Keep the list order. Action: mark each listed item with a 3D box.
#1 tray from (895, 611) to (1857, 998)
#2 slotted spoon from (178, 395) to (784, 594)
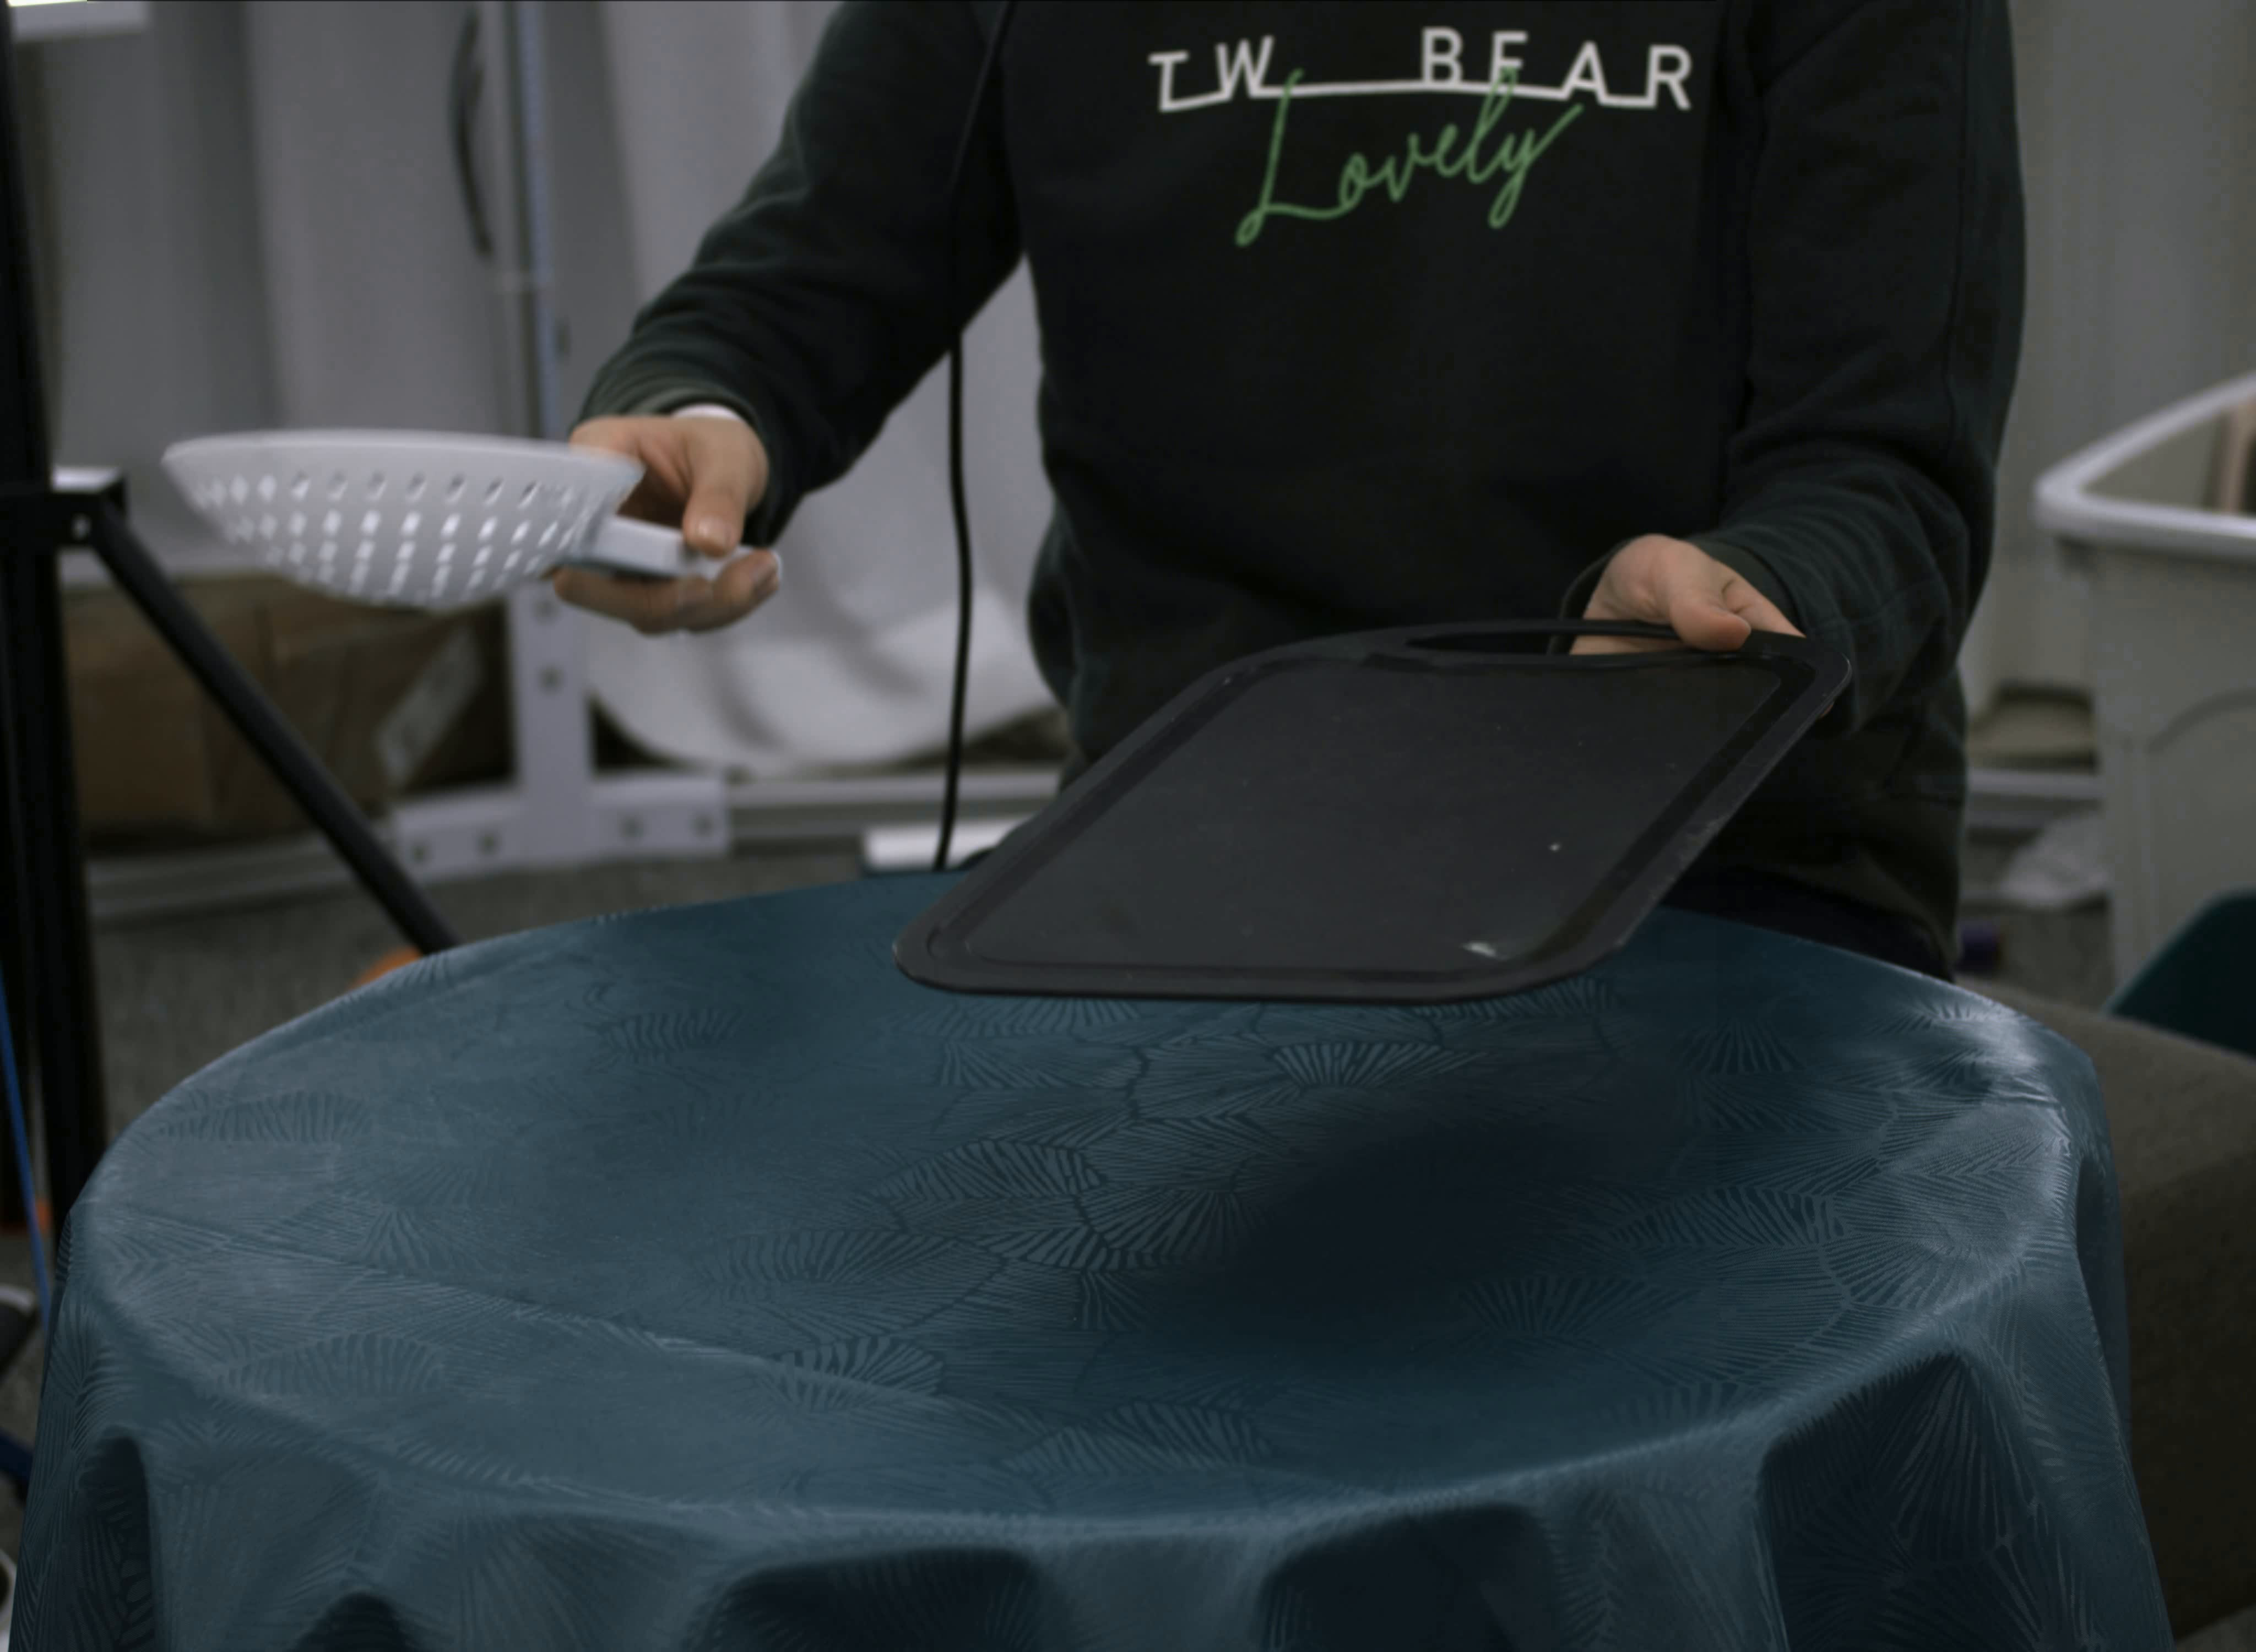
[{"bbox_3d":[0.079,-0.013,1.527,0.214,0.010,0.321,1,20,26],"label":"tray"},{"bbox_3d":[-0.174,-0.097,1.628,0.137,0.046,0.345,2,1,16],"label":"slotted spoon"}]
